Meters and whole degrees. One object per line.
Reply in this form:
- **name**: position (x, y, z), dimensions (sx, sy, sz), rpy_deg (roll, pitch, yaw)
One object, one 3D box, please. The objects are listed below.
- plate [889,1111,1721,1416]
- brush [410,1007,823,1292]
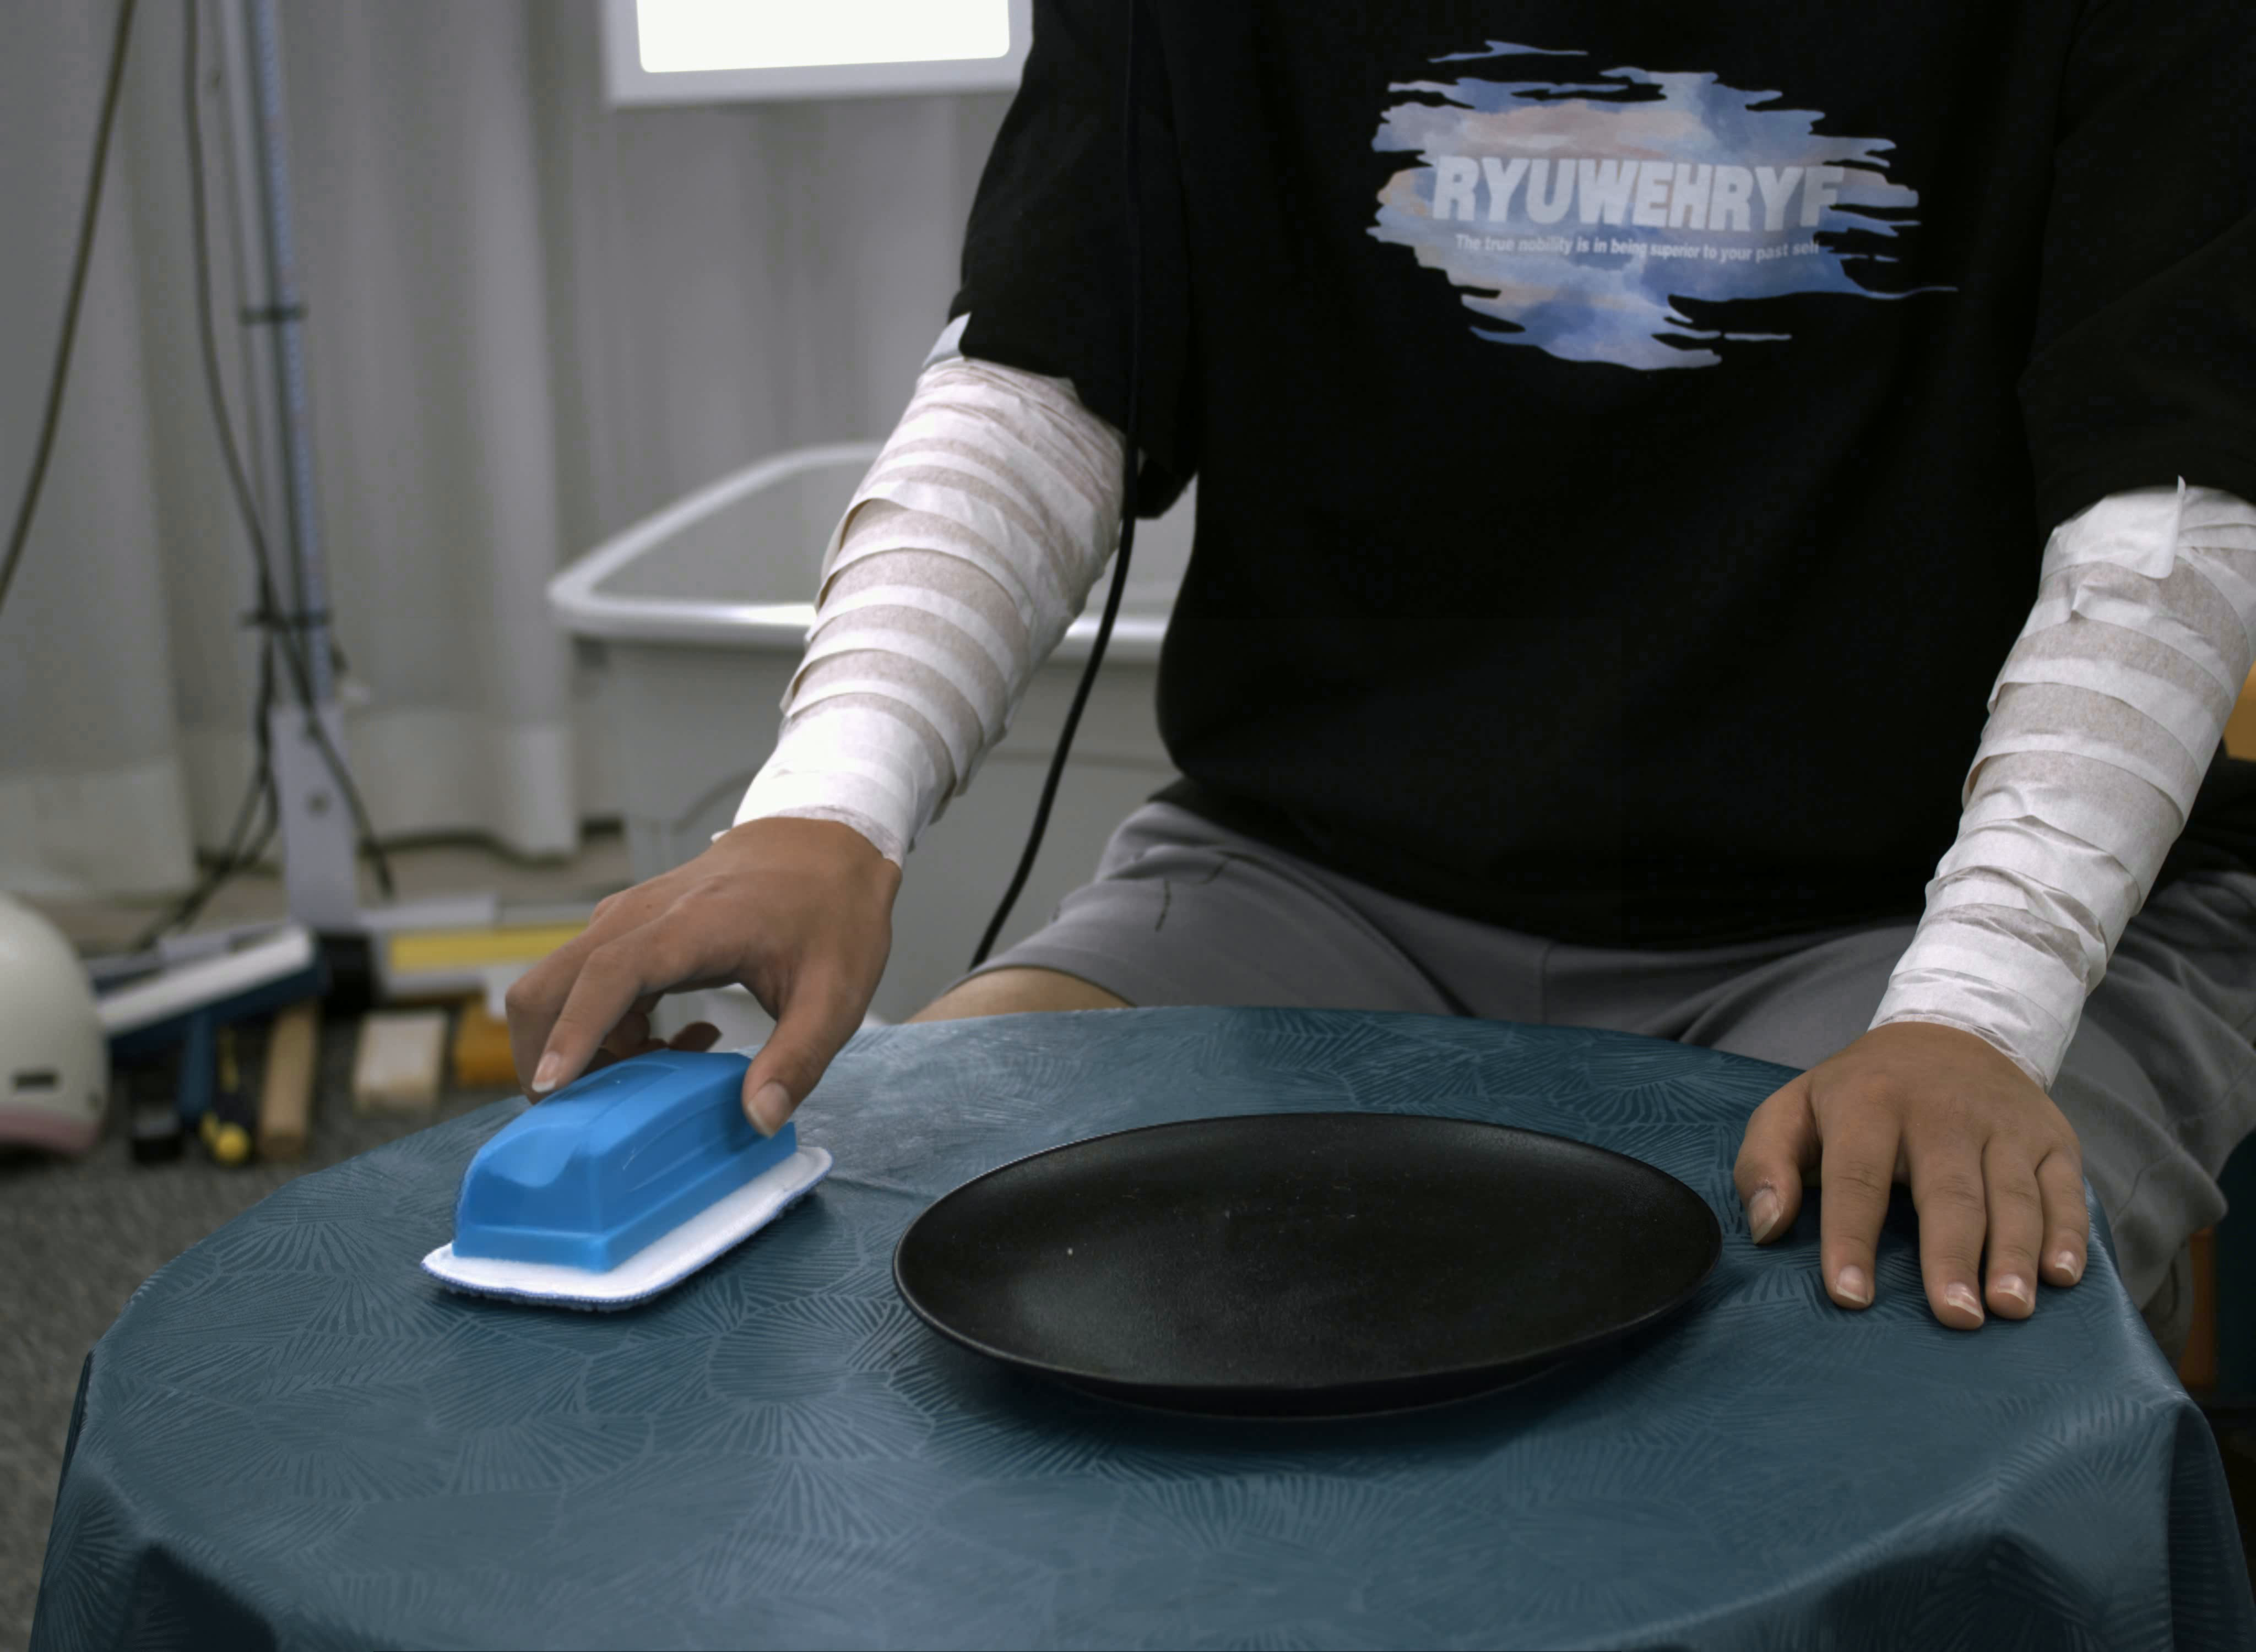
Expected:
- **plate**: position (0.052, 0.130, 1.597), dimensions (0.243, 0.023, 0.246), rpy_deg (-3, 15, 0)
- **brush**: position (-0.156, 0.096, 1.690), dimensions (0.084, 0.055, 0.144), rpy_deg (7, 20, 23)
